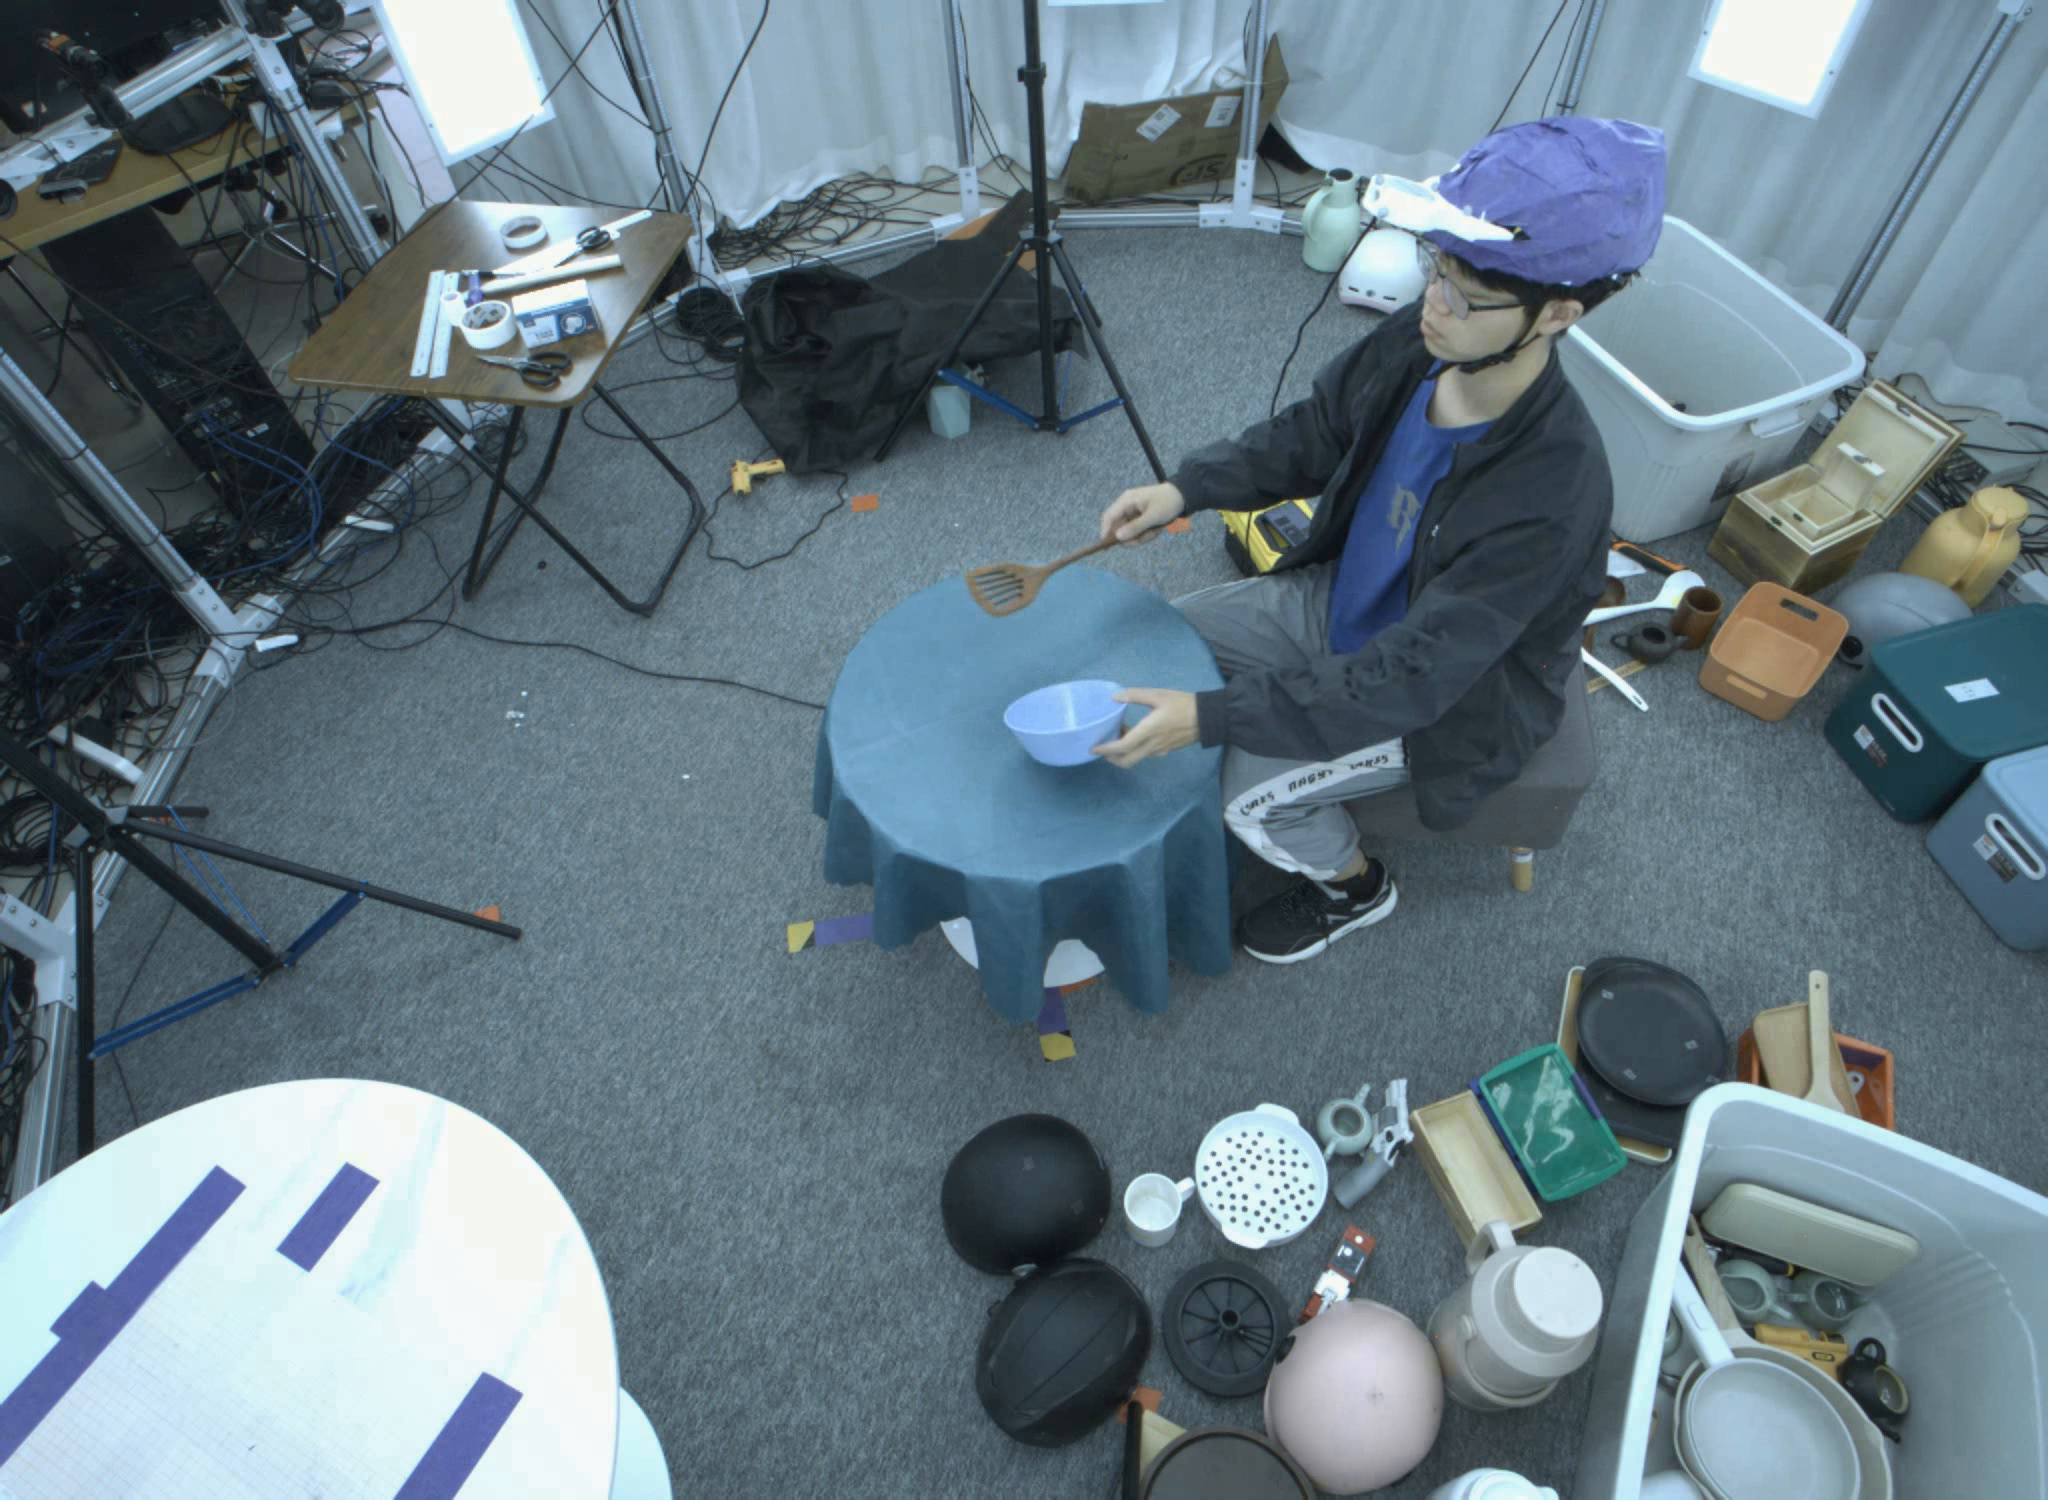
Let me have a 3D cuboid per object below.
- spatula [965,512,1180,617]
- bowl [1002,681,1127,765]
[{"bbox_3d":[0.082,-0.286,1.808,0.391,0.024,0.085,-26,75,-28],"label":"spatula"},{"bbox_3d":[0.061,-0.032,1.699,0.175,0.071,0.175,-10,23,6],"label":"bowl"}]
